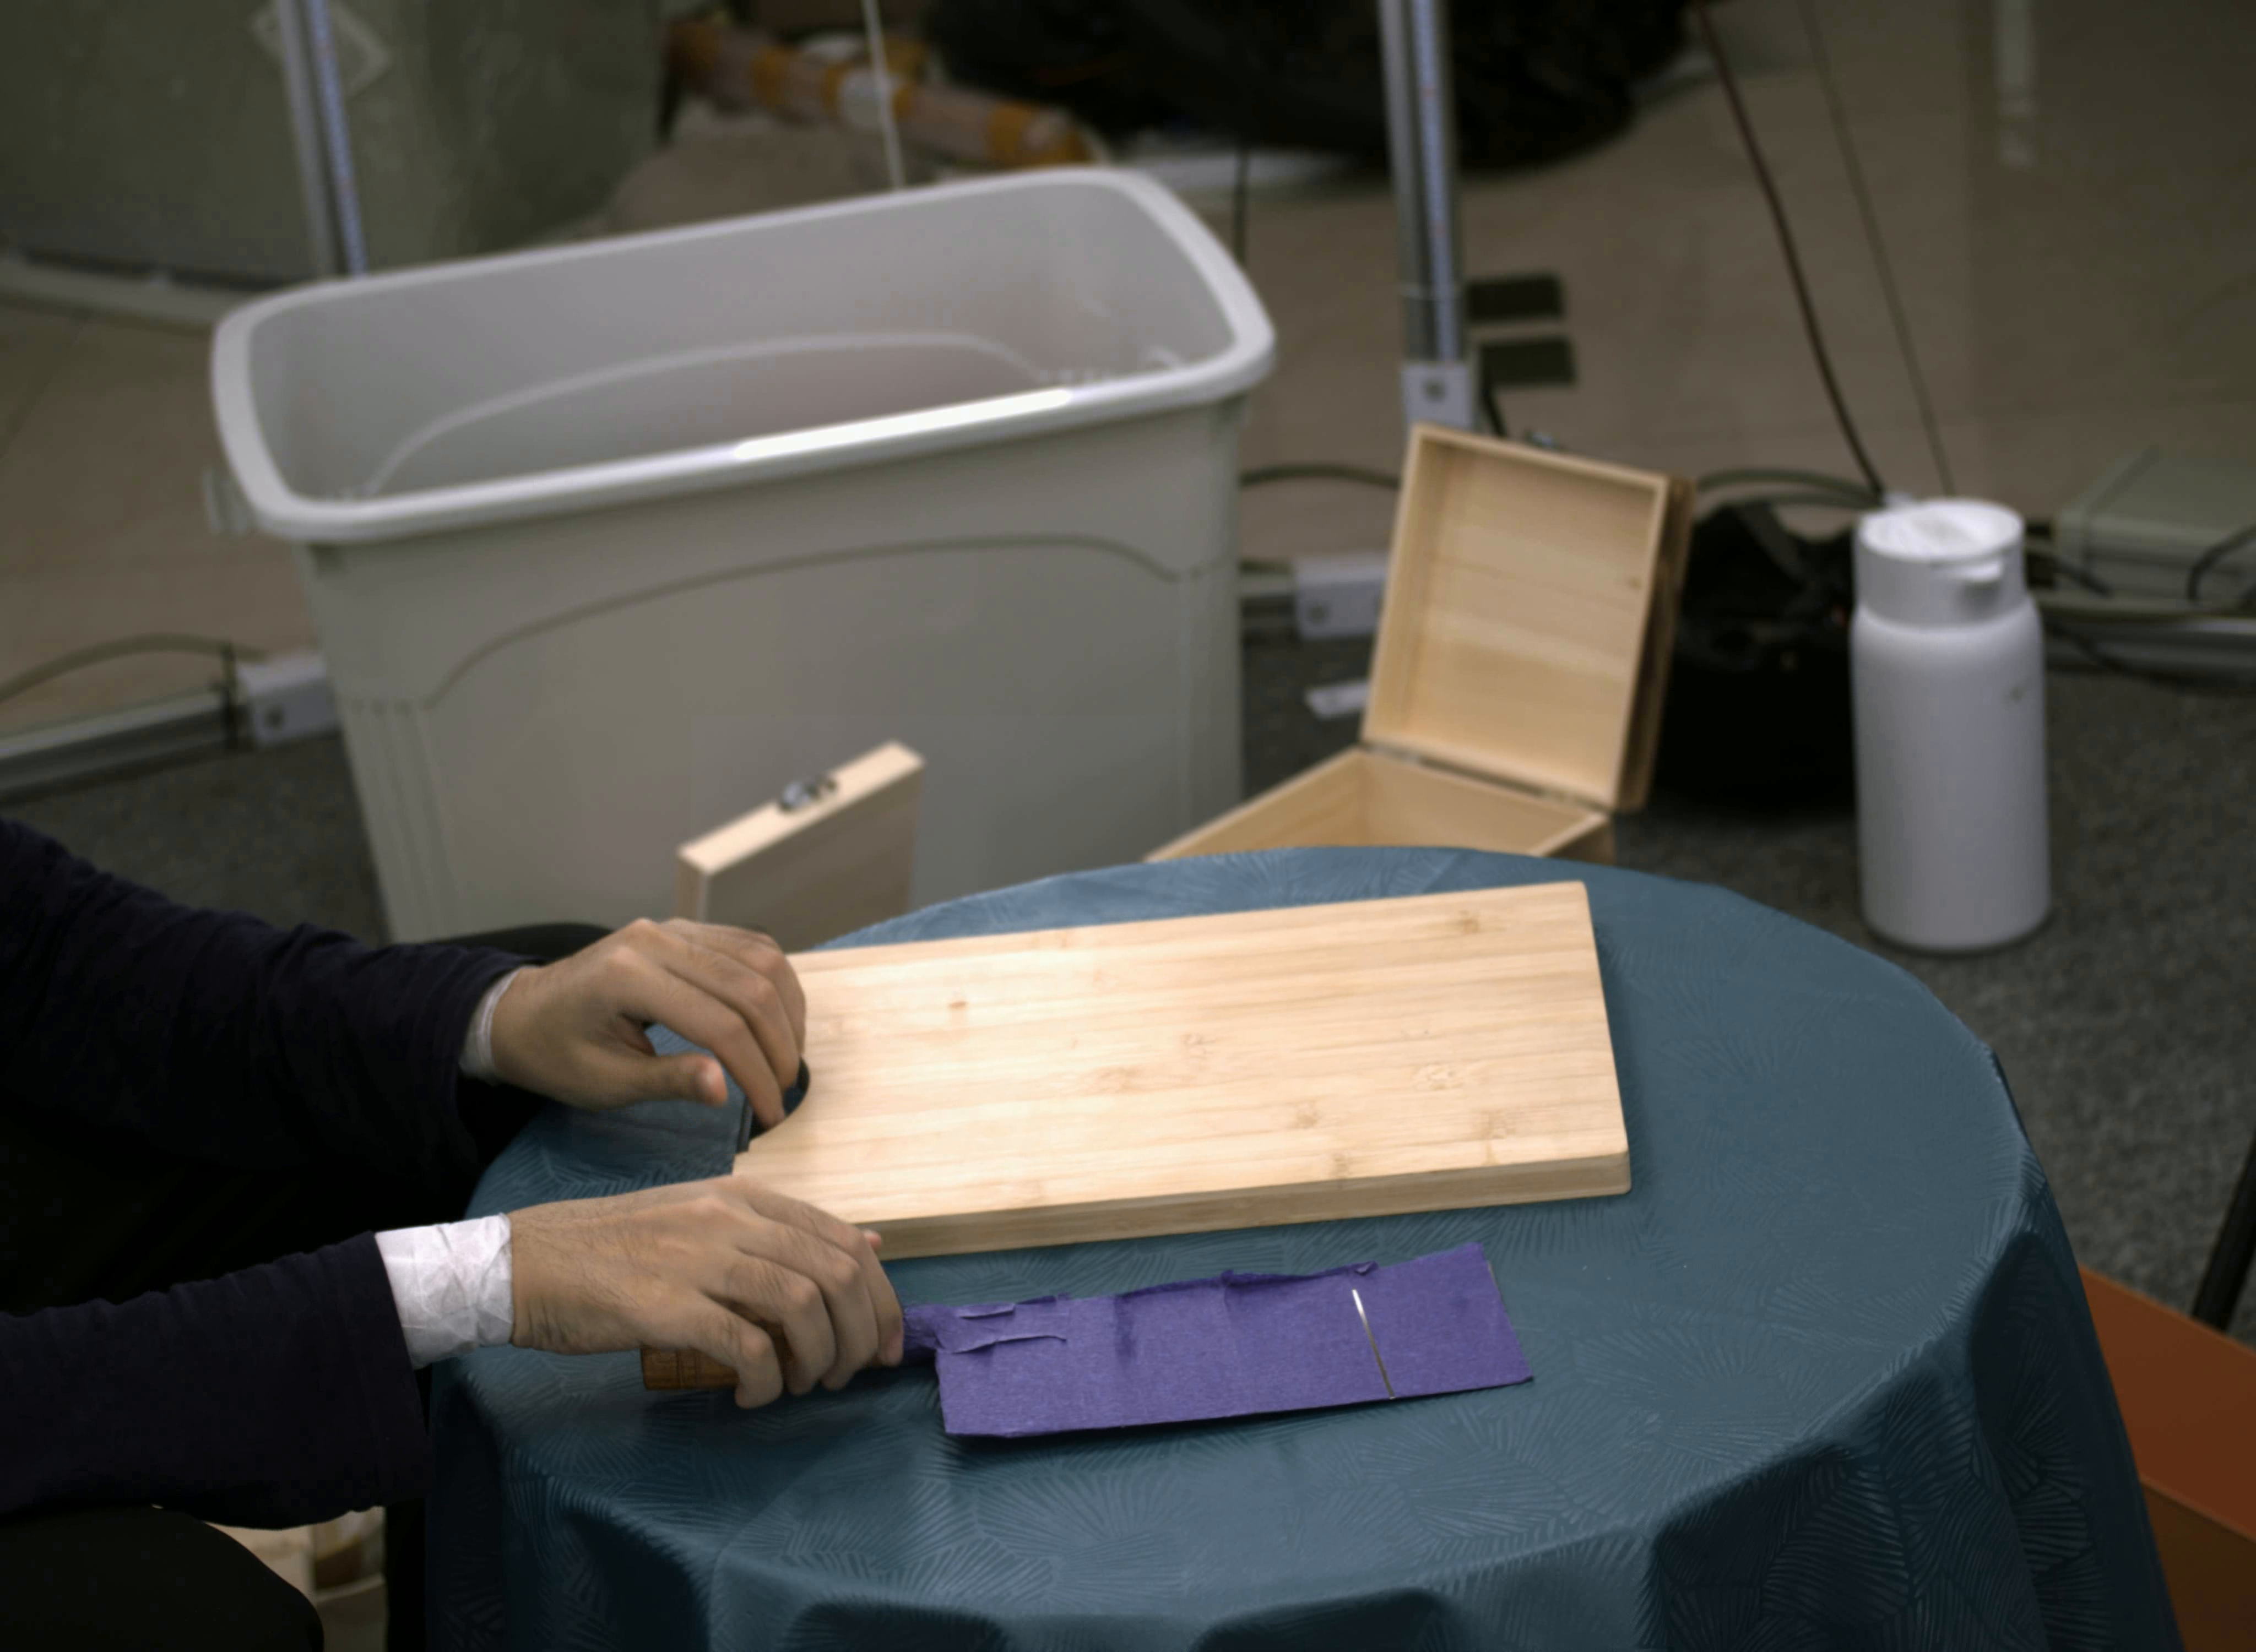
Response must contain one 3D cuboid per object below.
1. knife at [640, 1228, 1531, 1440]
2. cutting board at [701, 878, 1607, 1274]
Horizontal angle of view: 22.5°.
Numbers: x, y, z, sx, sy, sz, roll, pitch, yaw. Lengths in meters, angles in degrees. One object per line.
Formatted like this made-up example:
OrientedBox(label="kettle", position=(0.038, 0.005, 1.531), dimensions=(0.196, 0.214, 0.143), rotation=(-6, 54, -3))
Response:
OrientedBox(label="knife", position=(-0.016, 0.185, 2.023), dimensions=(0.314, 0.033, 0.102), rotation=(-8, 25, -3))
OrientedBox(label="cutting board", position=(0.013, 0.096, 2.222), dimensions=(0.348, 0.024, 0.247), rotation=(-6, 25, 3))
